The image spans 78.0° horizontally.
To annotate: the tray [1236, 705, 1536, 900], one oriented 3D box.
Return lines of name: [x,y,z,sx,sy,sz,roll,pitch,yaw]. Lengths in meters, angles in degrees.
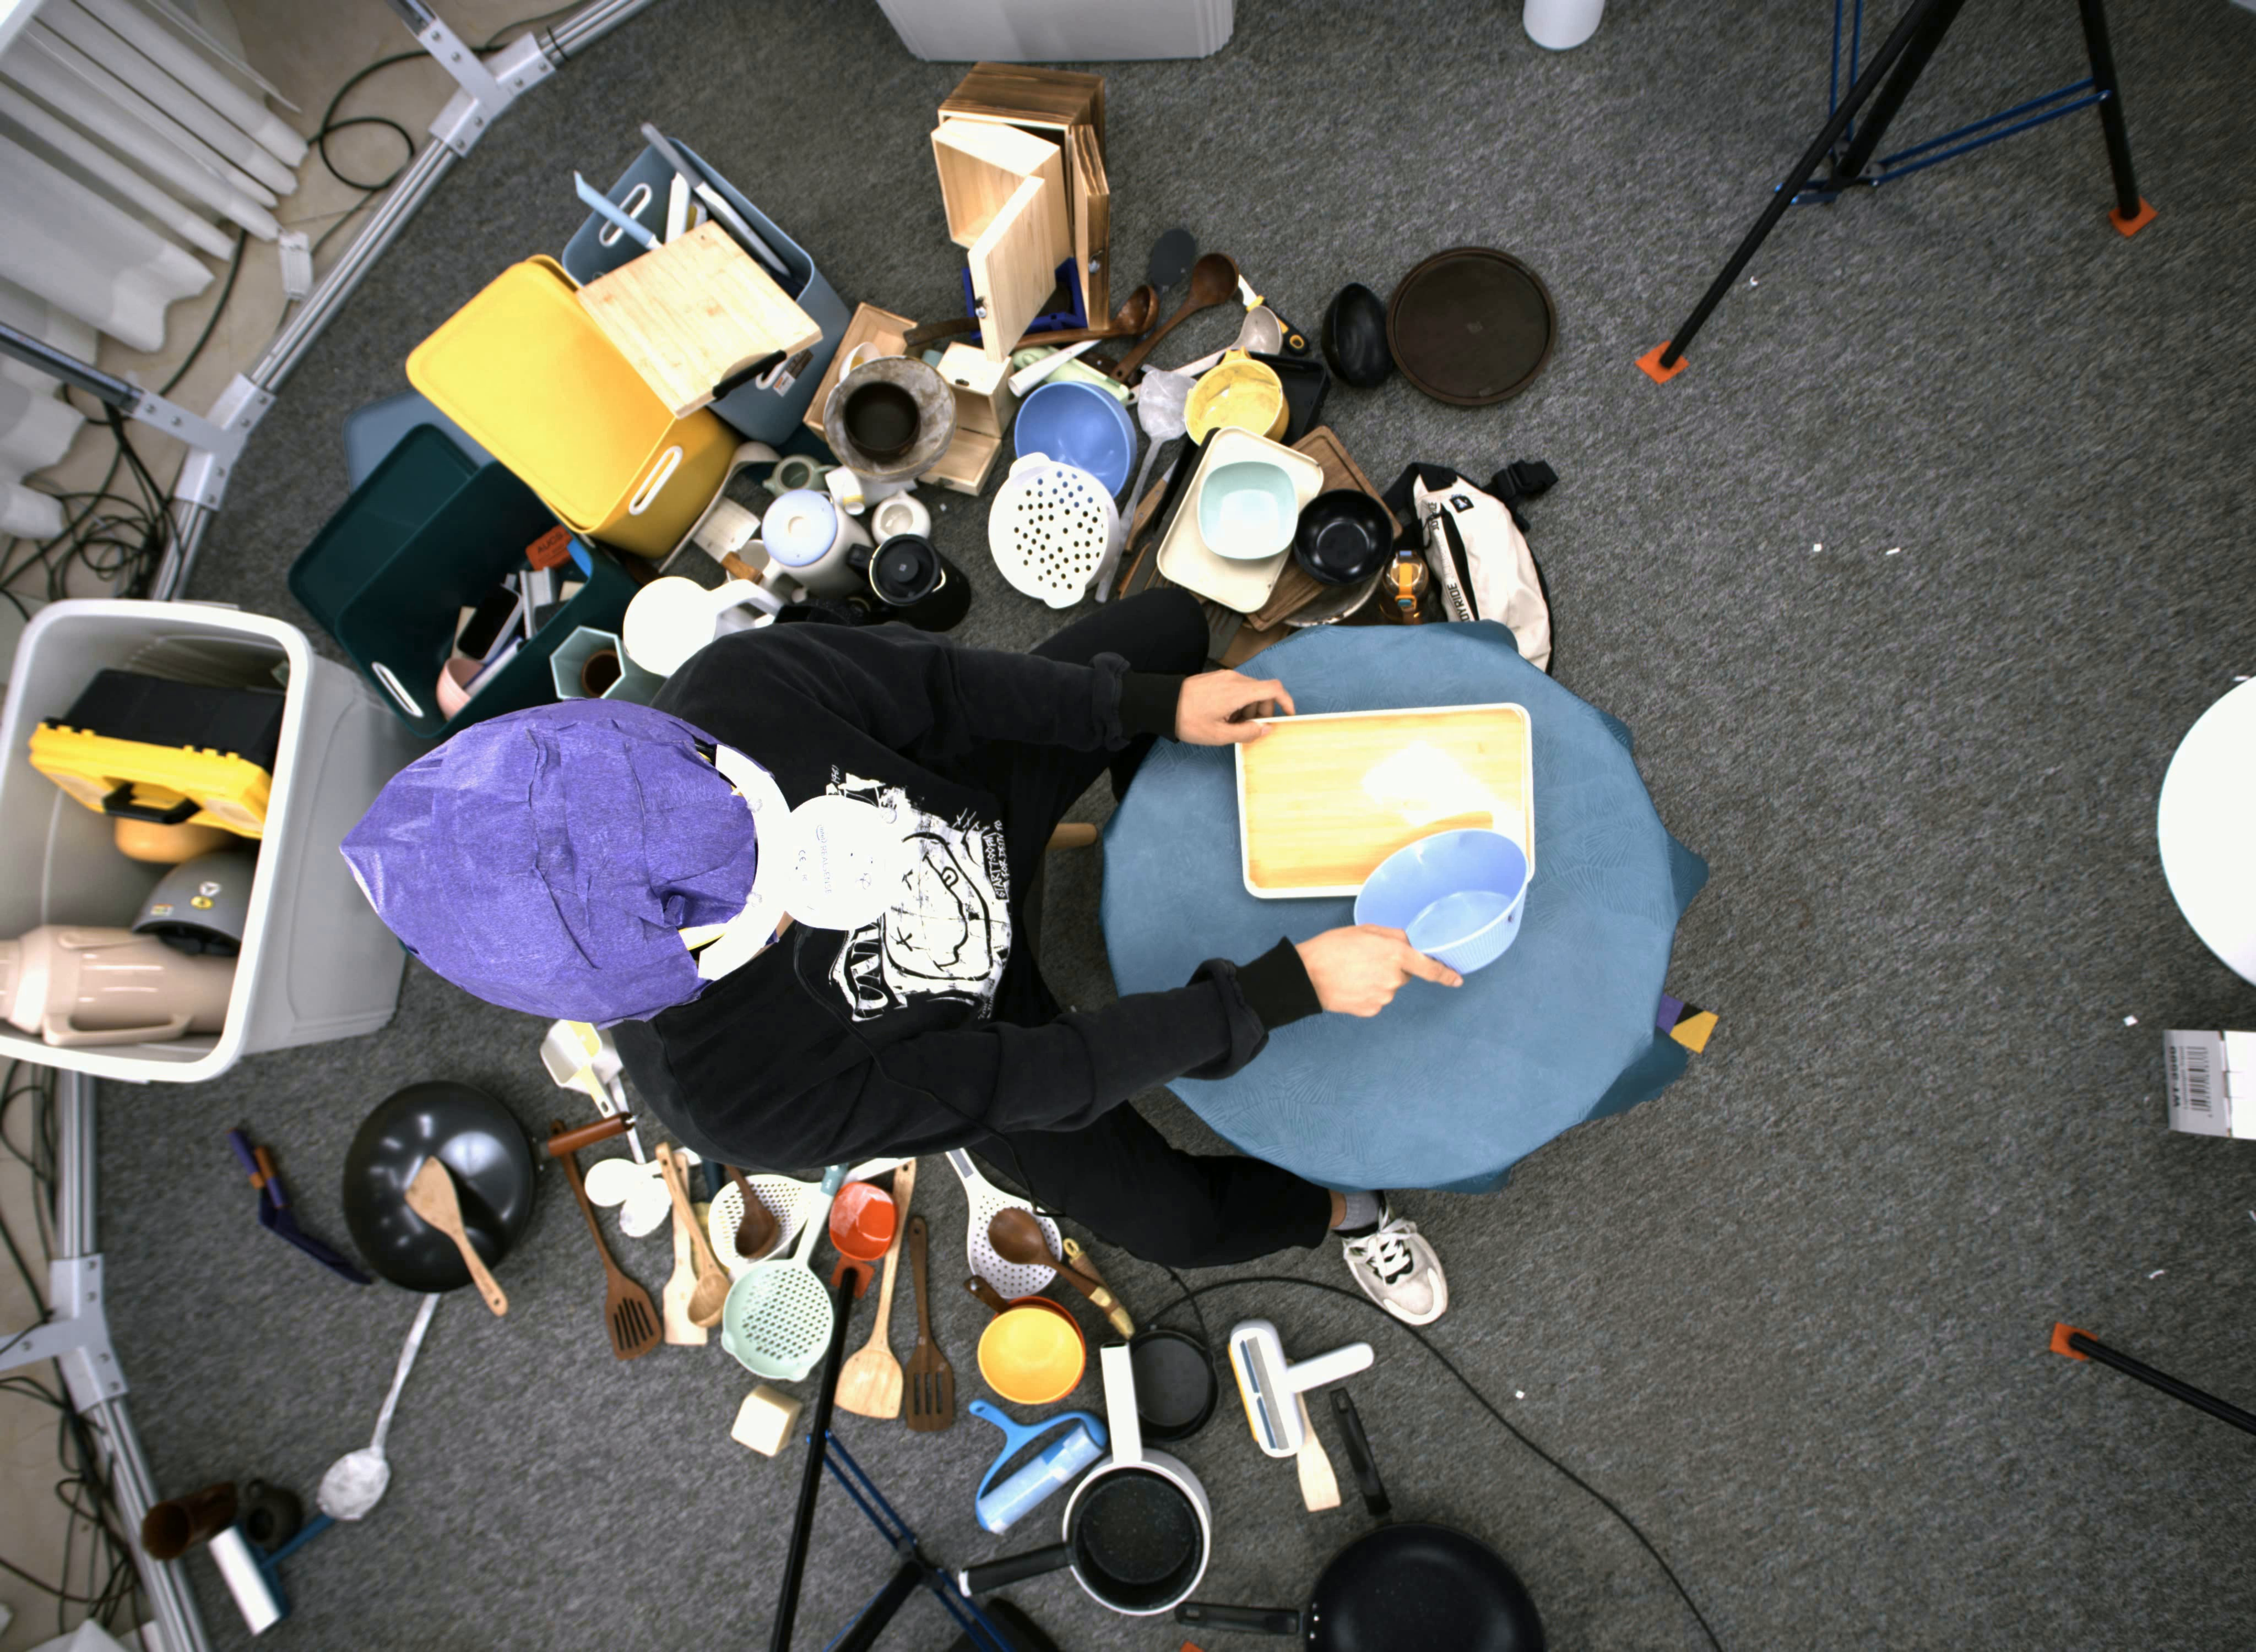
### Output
tray: [0.268,-0.025,1.435,0.301,0.027,0.193,-3,101,10]

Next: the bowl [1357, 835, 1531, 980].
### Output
bowl: [0.318,0.087,1.352,0.177,0.172,0.071,-27,118,6]
